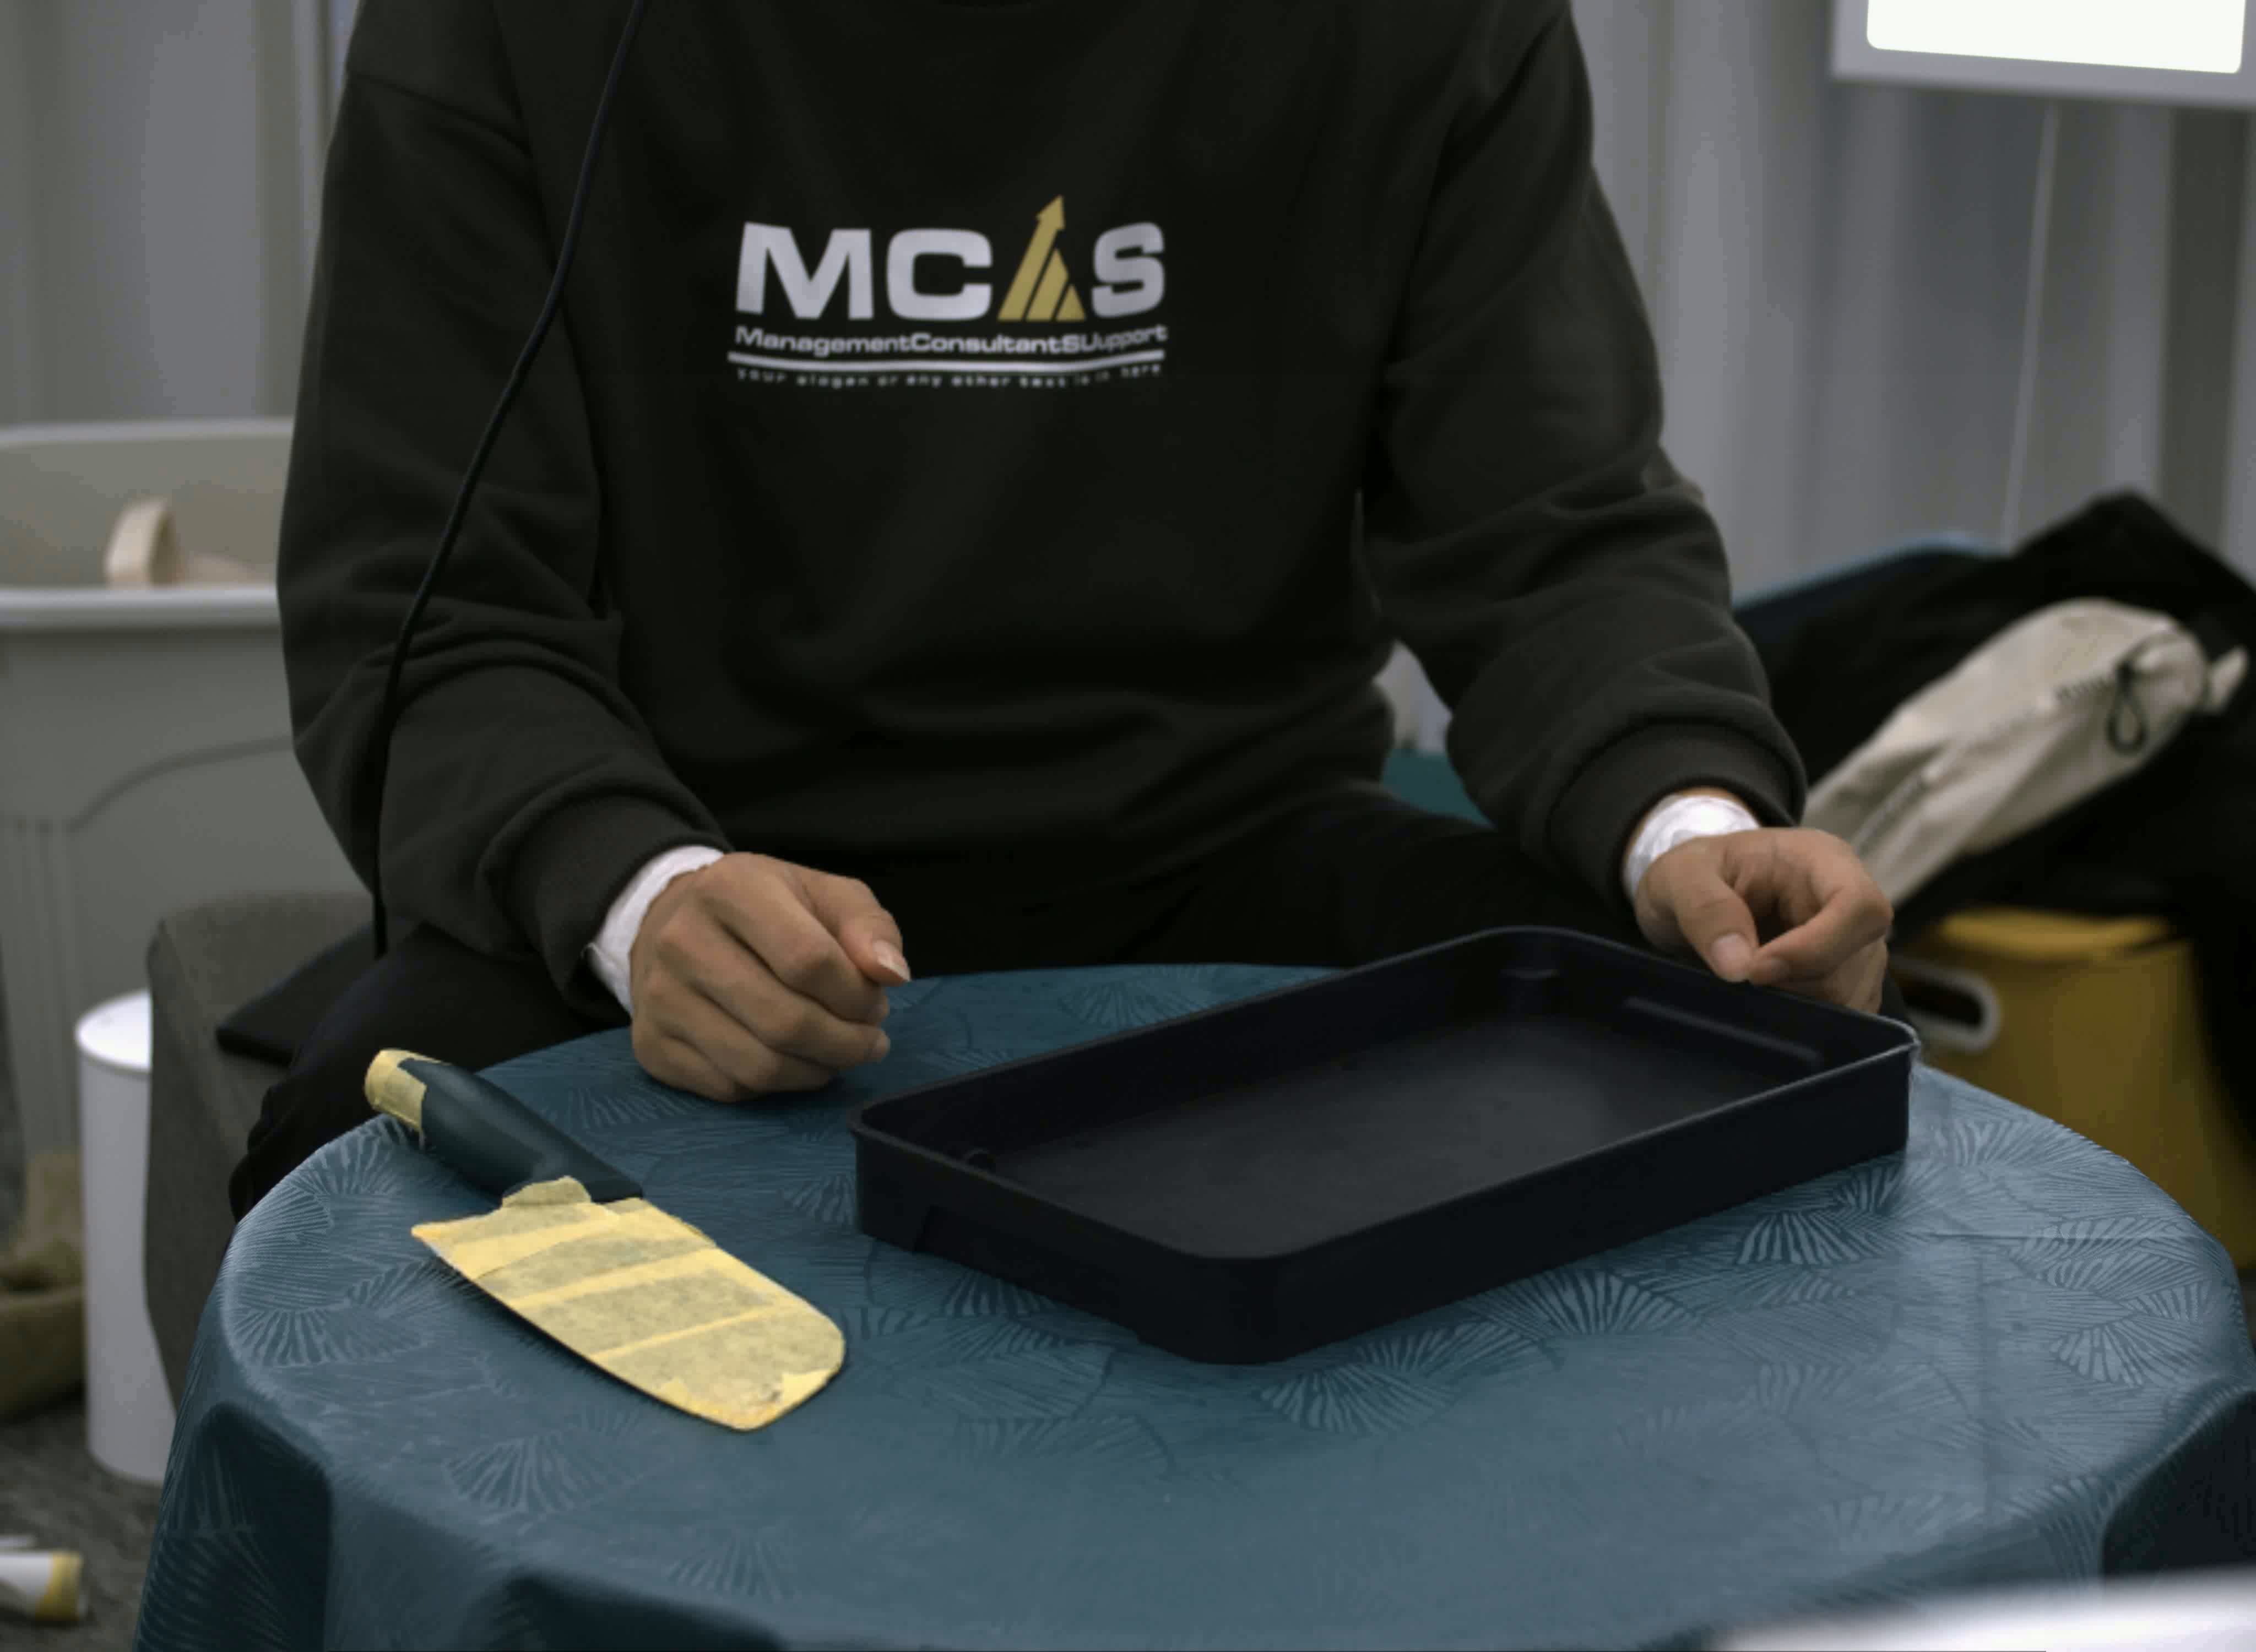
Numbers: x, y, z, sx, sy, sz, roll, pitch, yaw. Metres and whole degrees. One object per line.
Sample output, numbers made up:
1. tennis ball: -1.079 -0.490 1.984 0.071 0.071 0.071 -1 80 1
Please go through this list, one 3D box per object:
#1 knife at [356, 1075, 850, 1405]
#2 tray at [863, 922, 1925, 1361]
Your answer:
1. knife: -0.169 0.123 1.554 0.081 0.027 0.285 -8 18 -32
2. tray: 0.087 0.092 1.636 0.319 0.037 0.182 -15 21 -43
